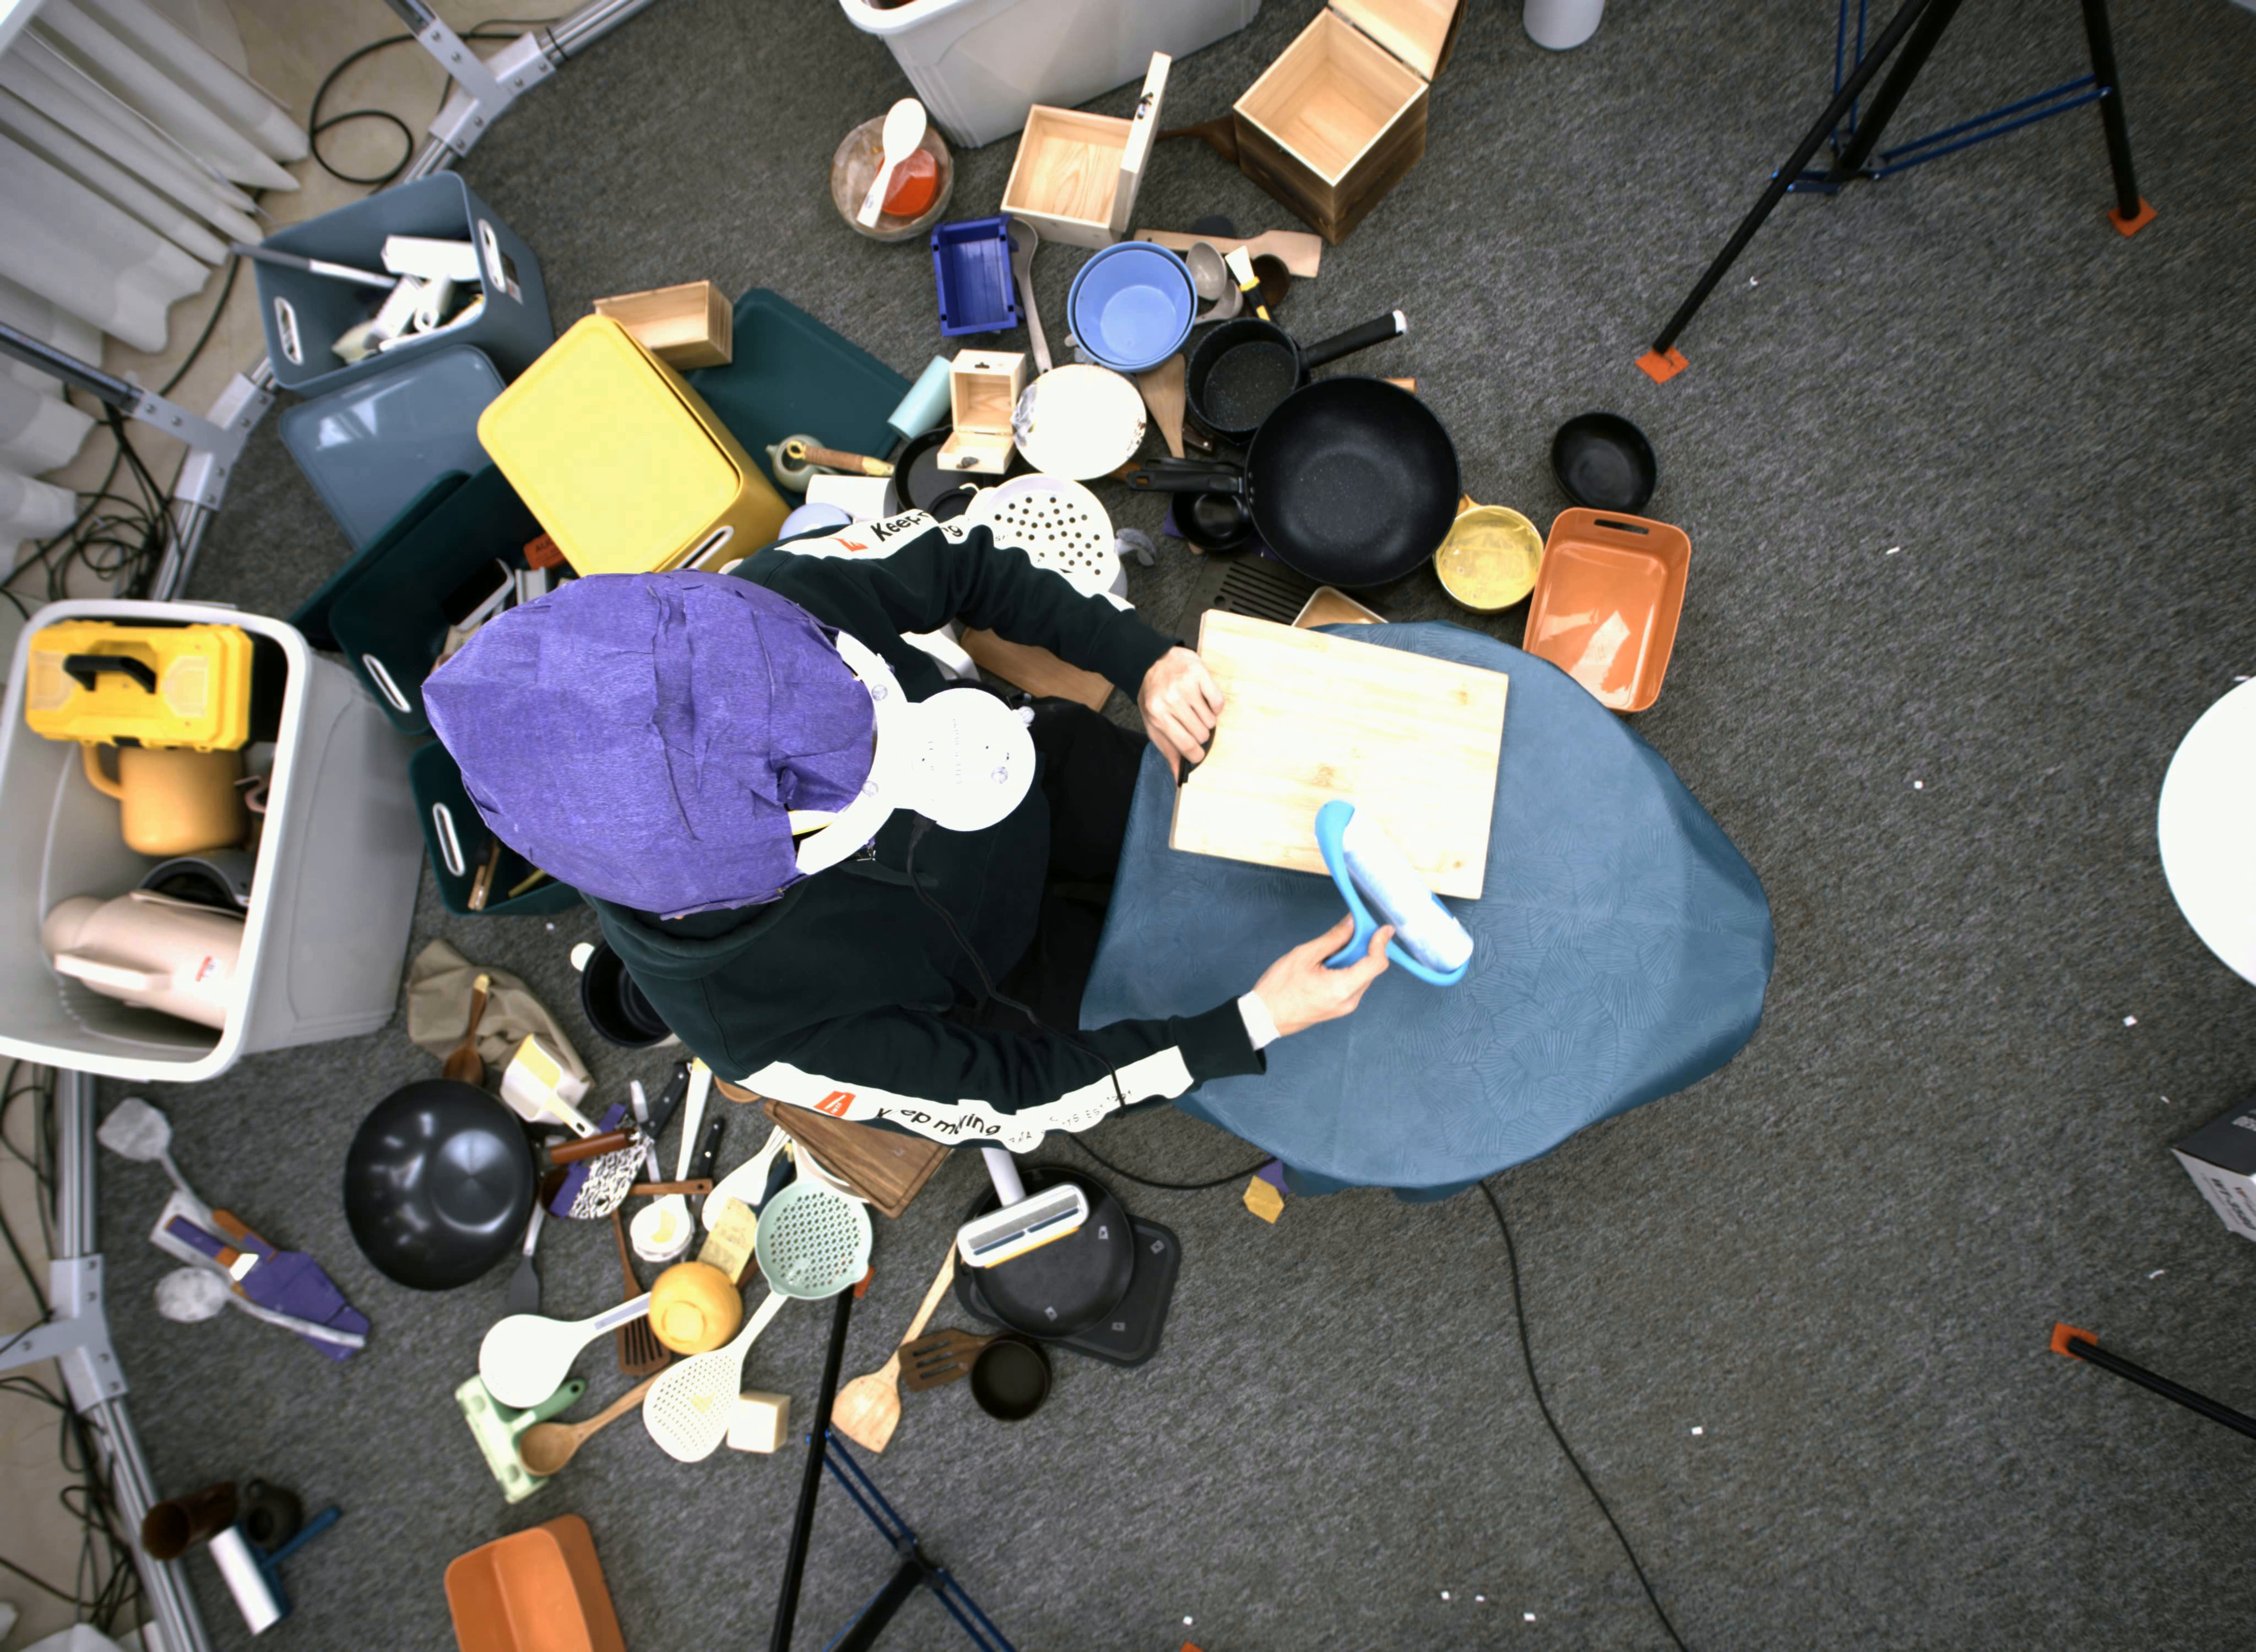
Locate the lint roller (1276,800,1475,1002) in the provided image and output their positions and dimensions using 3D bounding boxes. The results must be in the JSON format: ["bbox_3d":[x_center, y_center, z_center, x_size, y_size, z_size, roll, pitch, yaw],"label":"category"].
[{"bbox_3d":[0.217,0.104,1.312,0.179,0.067,0.231,-48,112,-5],"label":"lint roller"}]

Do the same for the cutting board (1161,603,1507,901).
[{"bbox_3d":[0.214,-0.071,1.388,0.348,0.023,0.250,8,88,-16],"label":"cutting board"}]
